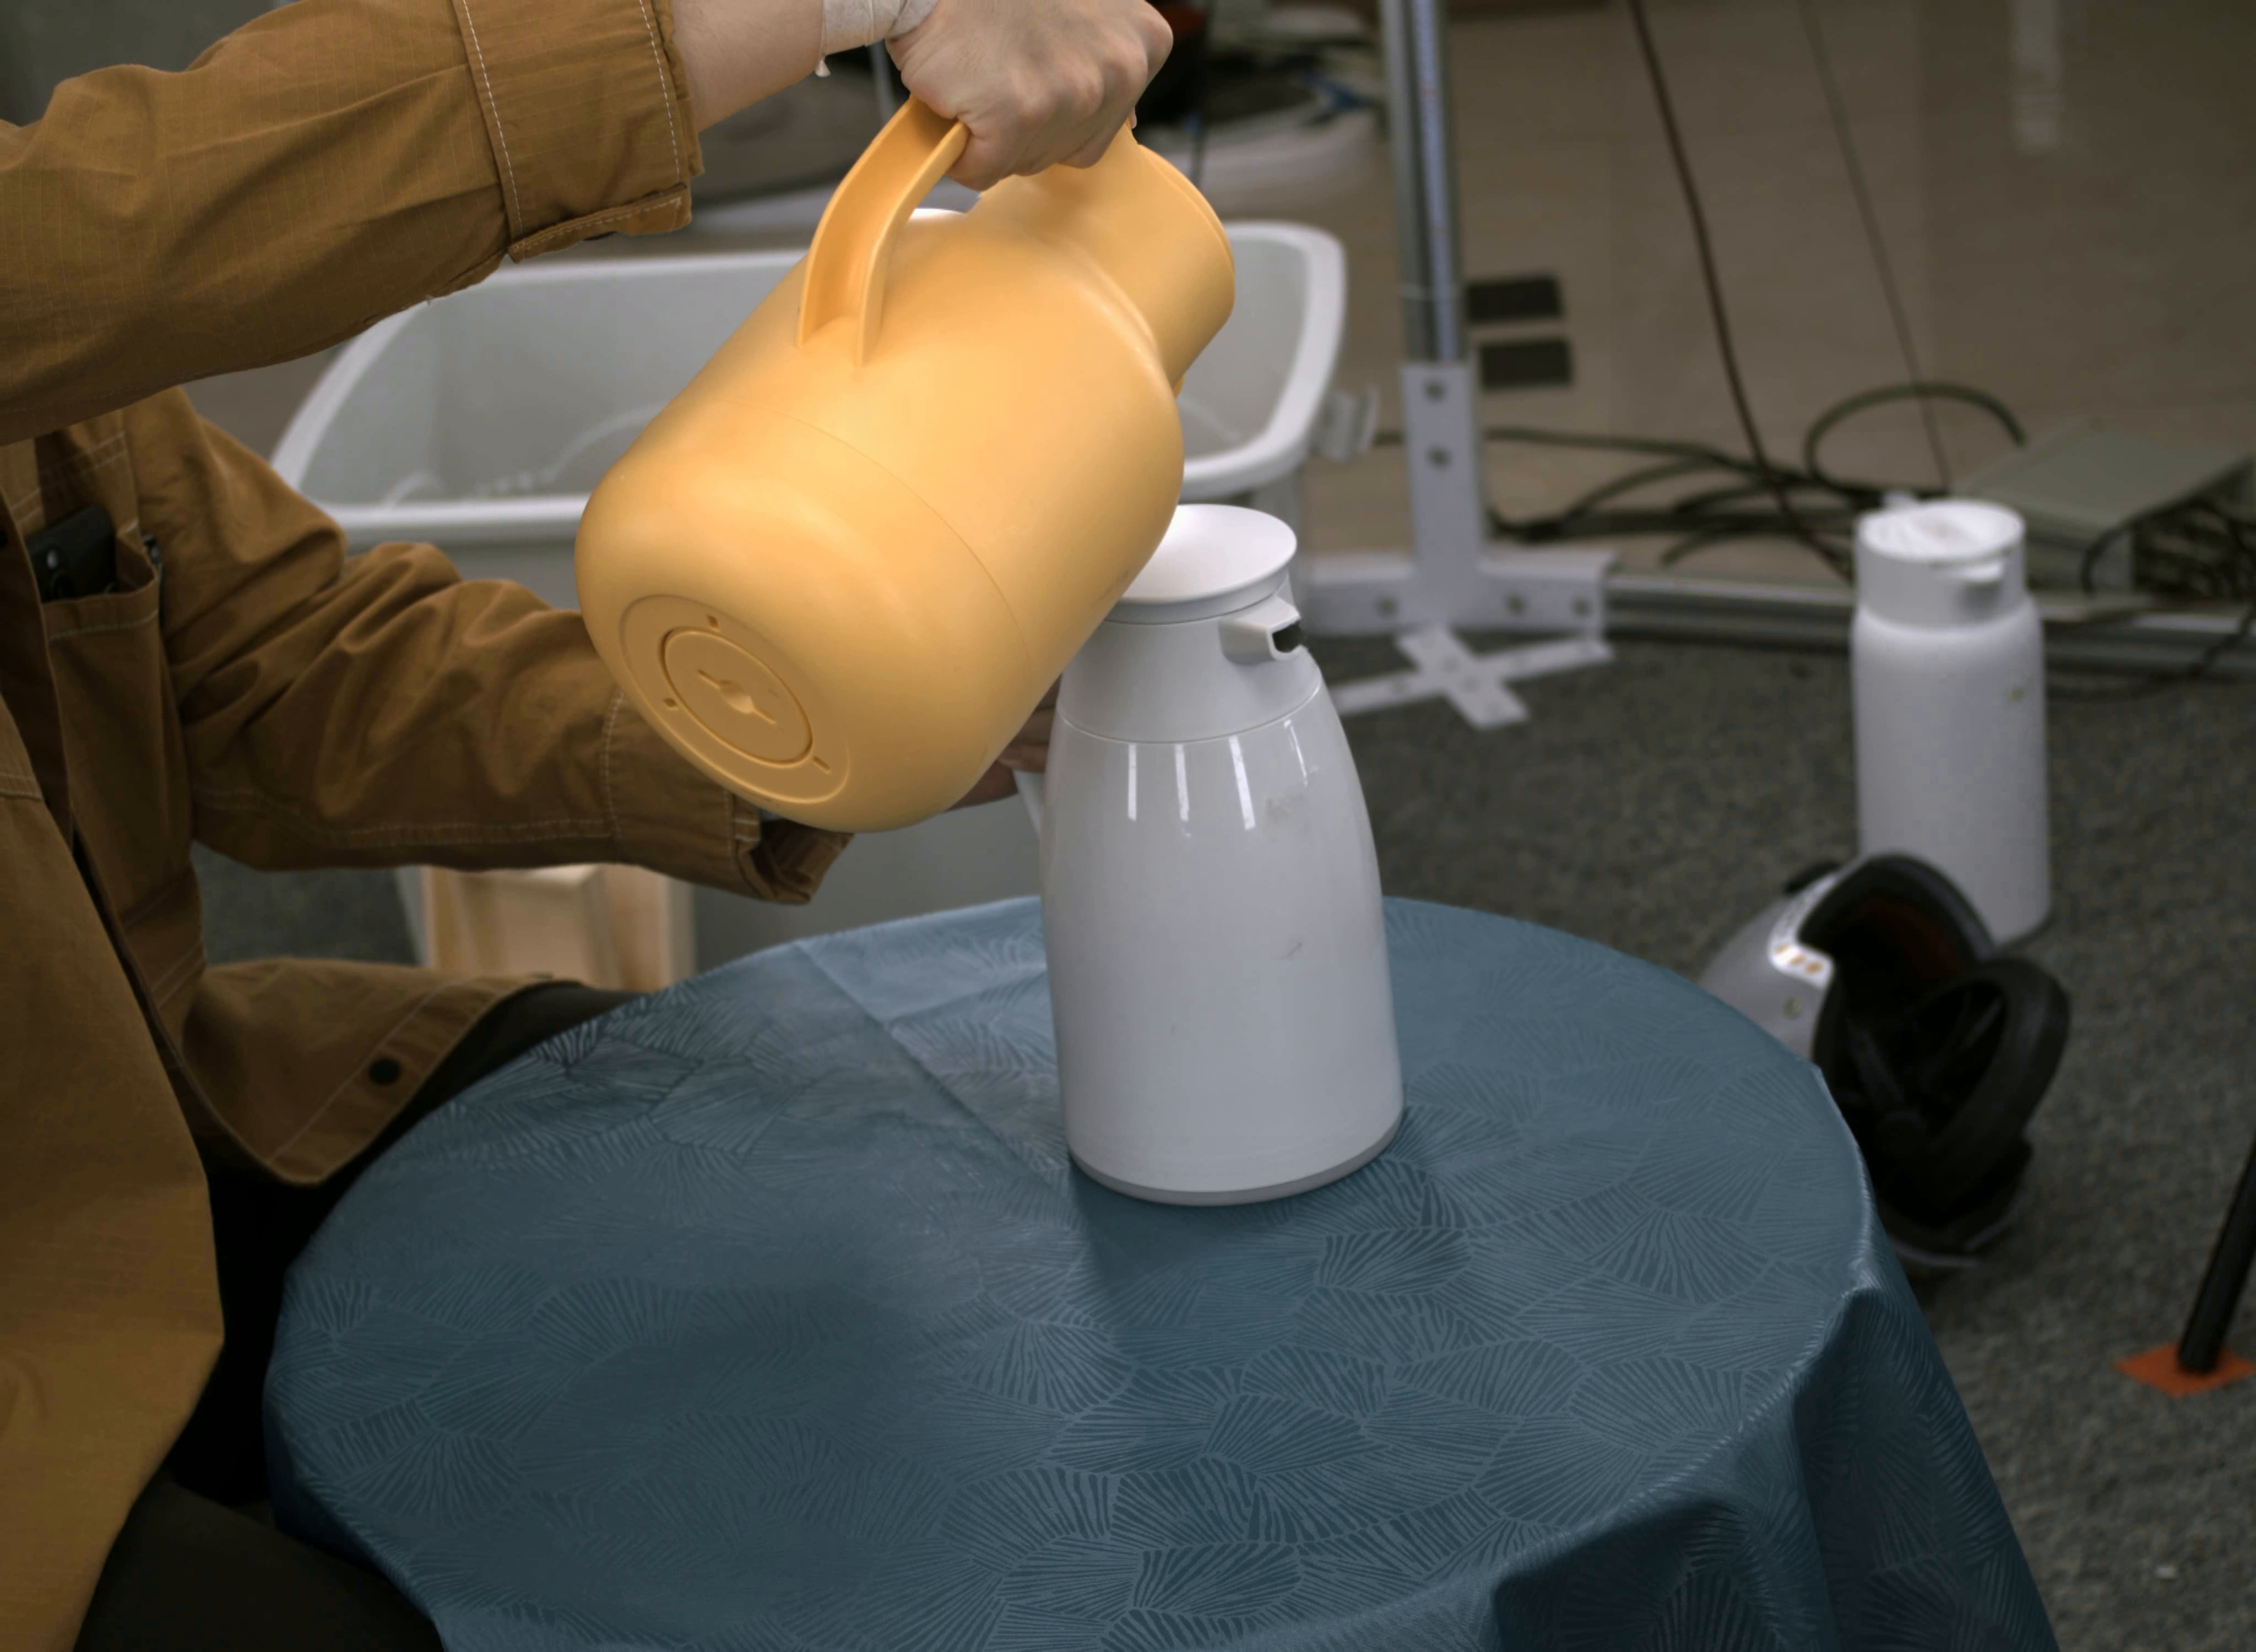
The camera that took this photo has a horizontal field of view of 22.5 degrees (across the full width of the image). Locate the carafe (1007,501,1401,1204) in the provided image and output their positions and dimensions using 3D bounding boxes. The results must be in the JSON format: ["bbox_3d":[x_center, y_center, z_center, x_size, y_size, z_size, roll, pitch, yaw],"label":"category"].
[{"bbox_3d":[0.015,-0.001,2.147,0.131,0.252,0.166,-26,31,-34],"label":"carafe"}]

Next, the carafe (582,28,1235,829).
[{"bbox_3d":[-0.068,-0.146,1.939,0.162,0.206,0.257,16,53,29],"label":"carafe"}]
